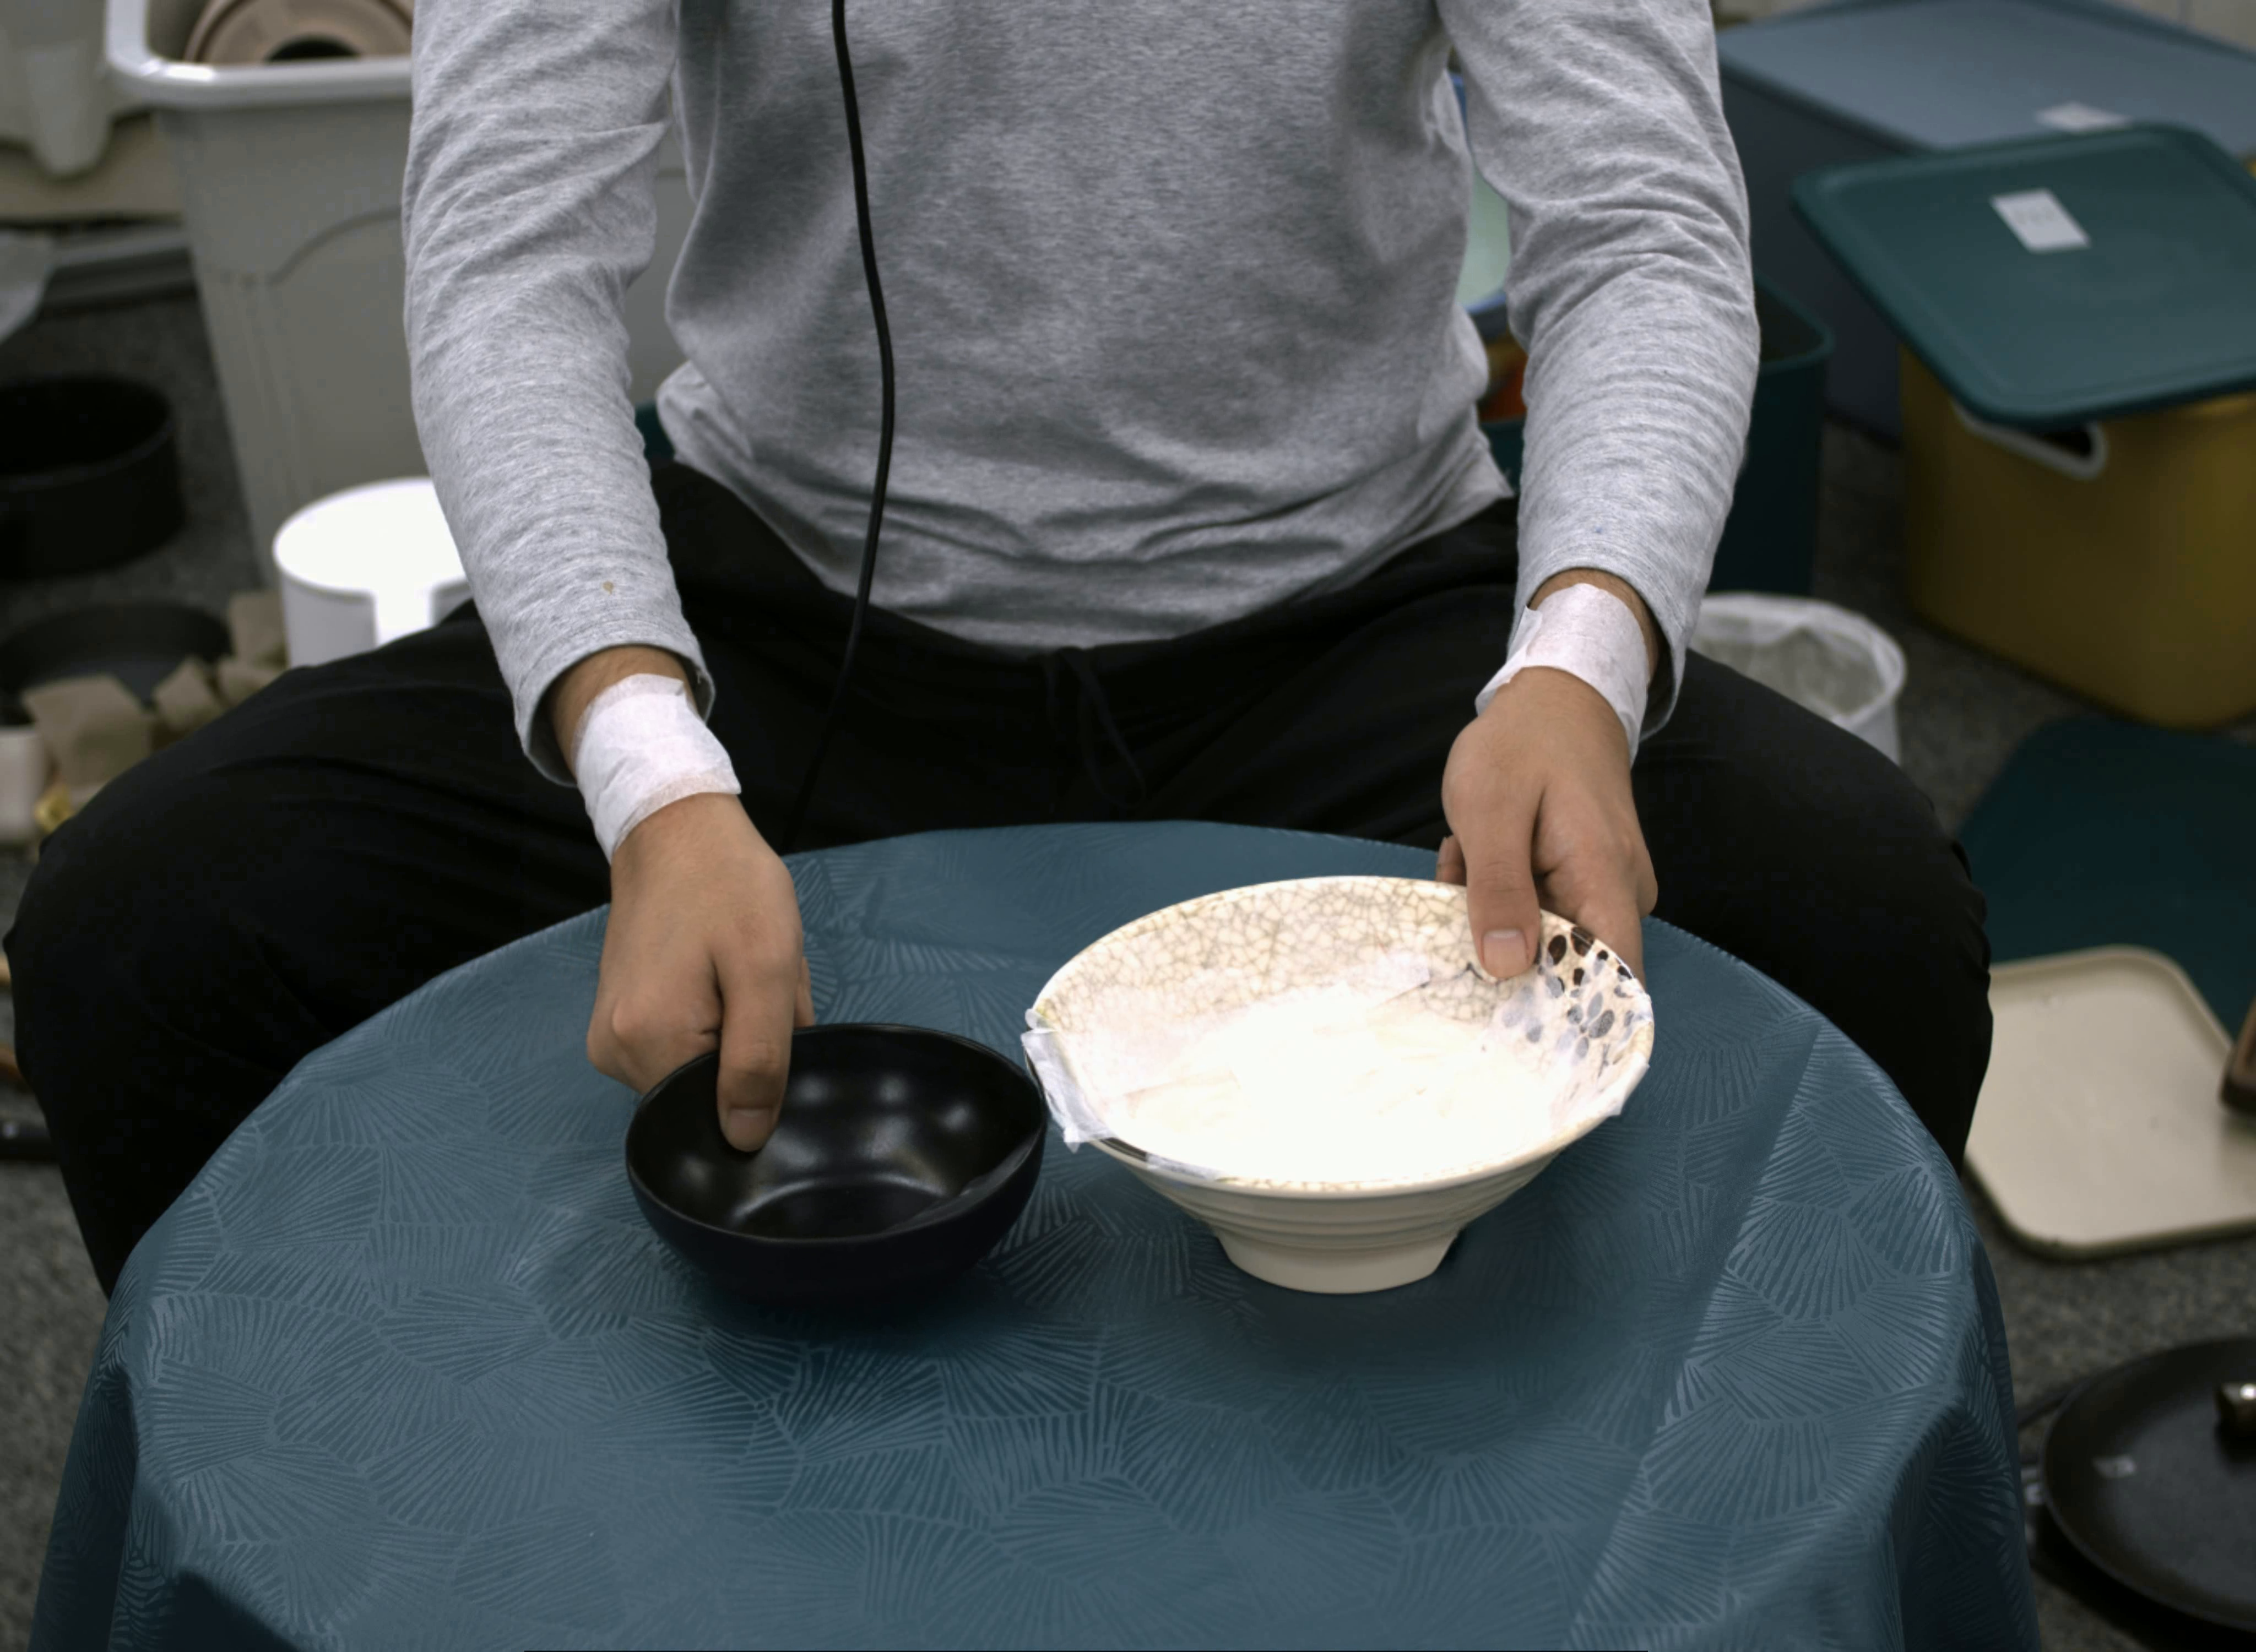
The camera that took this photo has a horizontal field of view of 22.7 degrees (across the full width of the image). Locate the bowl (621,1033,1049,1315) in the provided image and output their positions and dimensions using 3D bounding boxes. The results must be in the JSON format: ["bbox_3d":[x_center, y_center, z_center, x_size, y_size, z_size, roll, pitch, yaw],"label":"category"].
[{"bbox_3d":[-0.094,0.121,1.824,0.139,0.049,0.142,-1,24,1],"label":"bowl"}]

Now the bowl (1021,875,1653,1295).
[{"bbox_3d":[0.068,0.097,1.819,0.203,0.077,0.207,-1,26,1],"label":"bowl"}]
